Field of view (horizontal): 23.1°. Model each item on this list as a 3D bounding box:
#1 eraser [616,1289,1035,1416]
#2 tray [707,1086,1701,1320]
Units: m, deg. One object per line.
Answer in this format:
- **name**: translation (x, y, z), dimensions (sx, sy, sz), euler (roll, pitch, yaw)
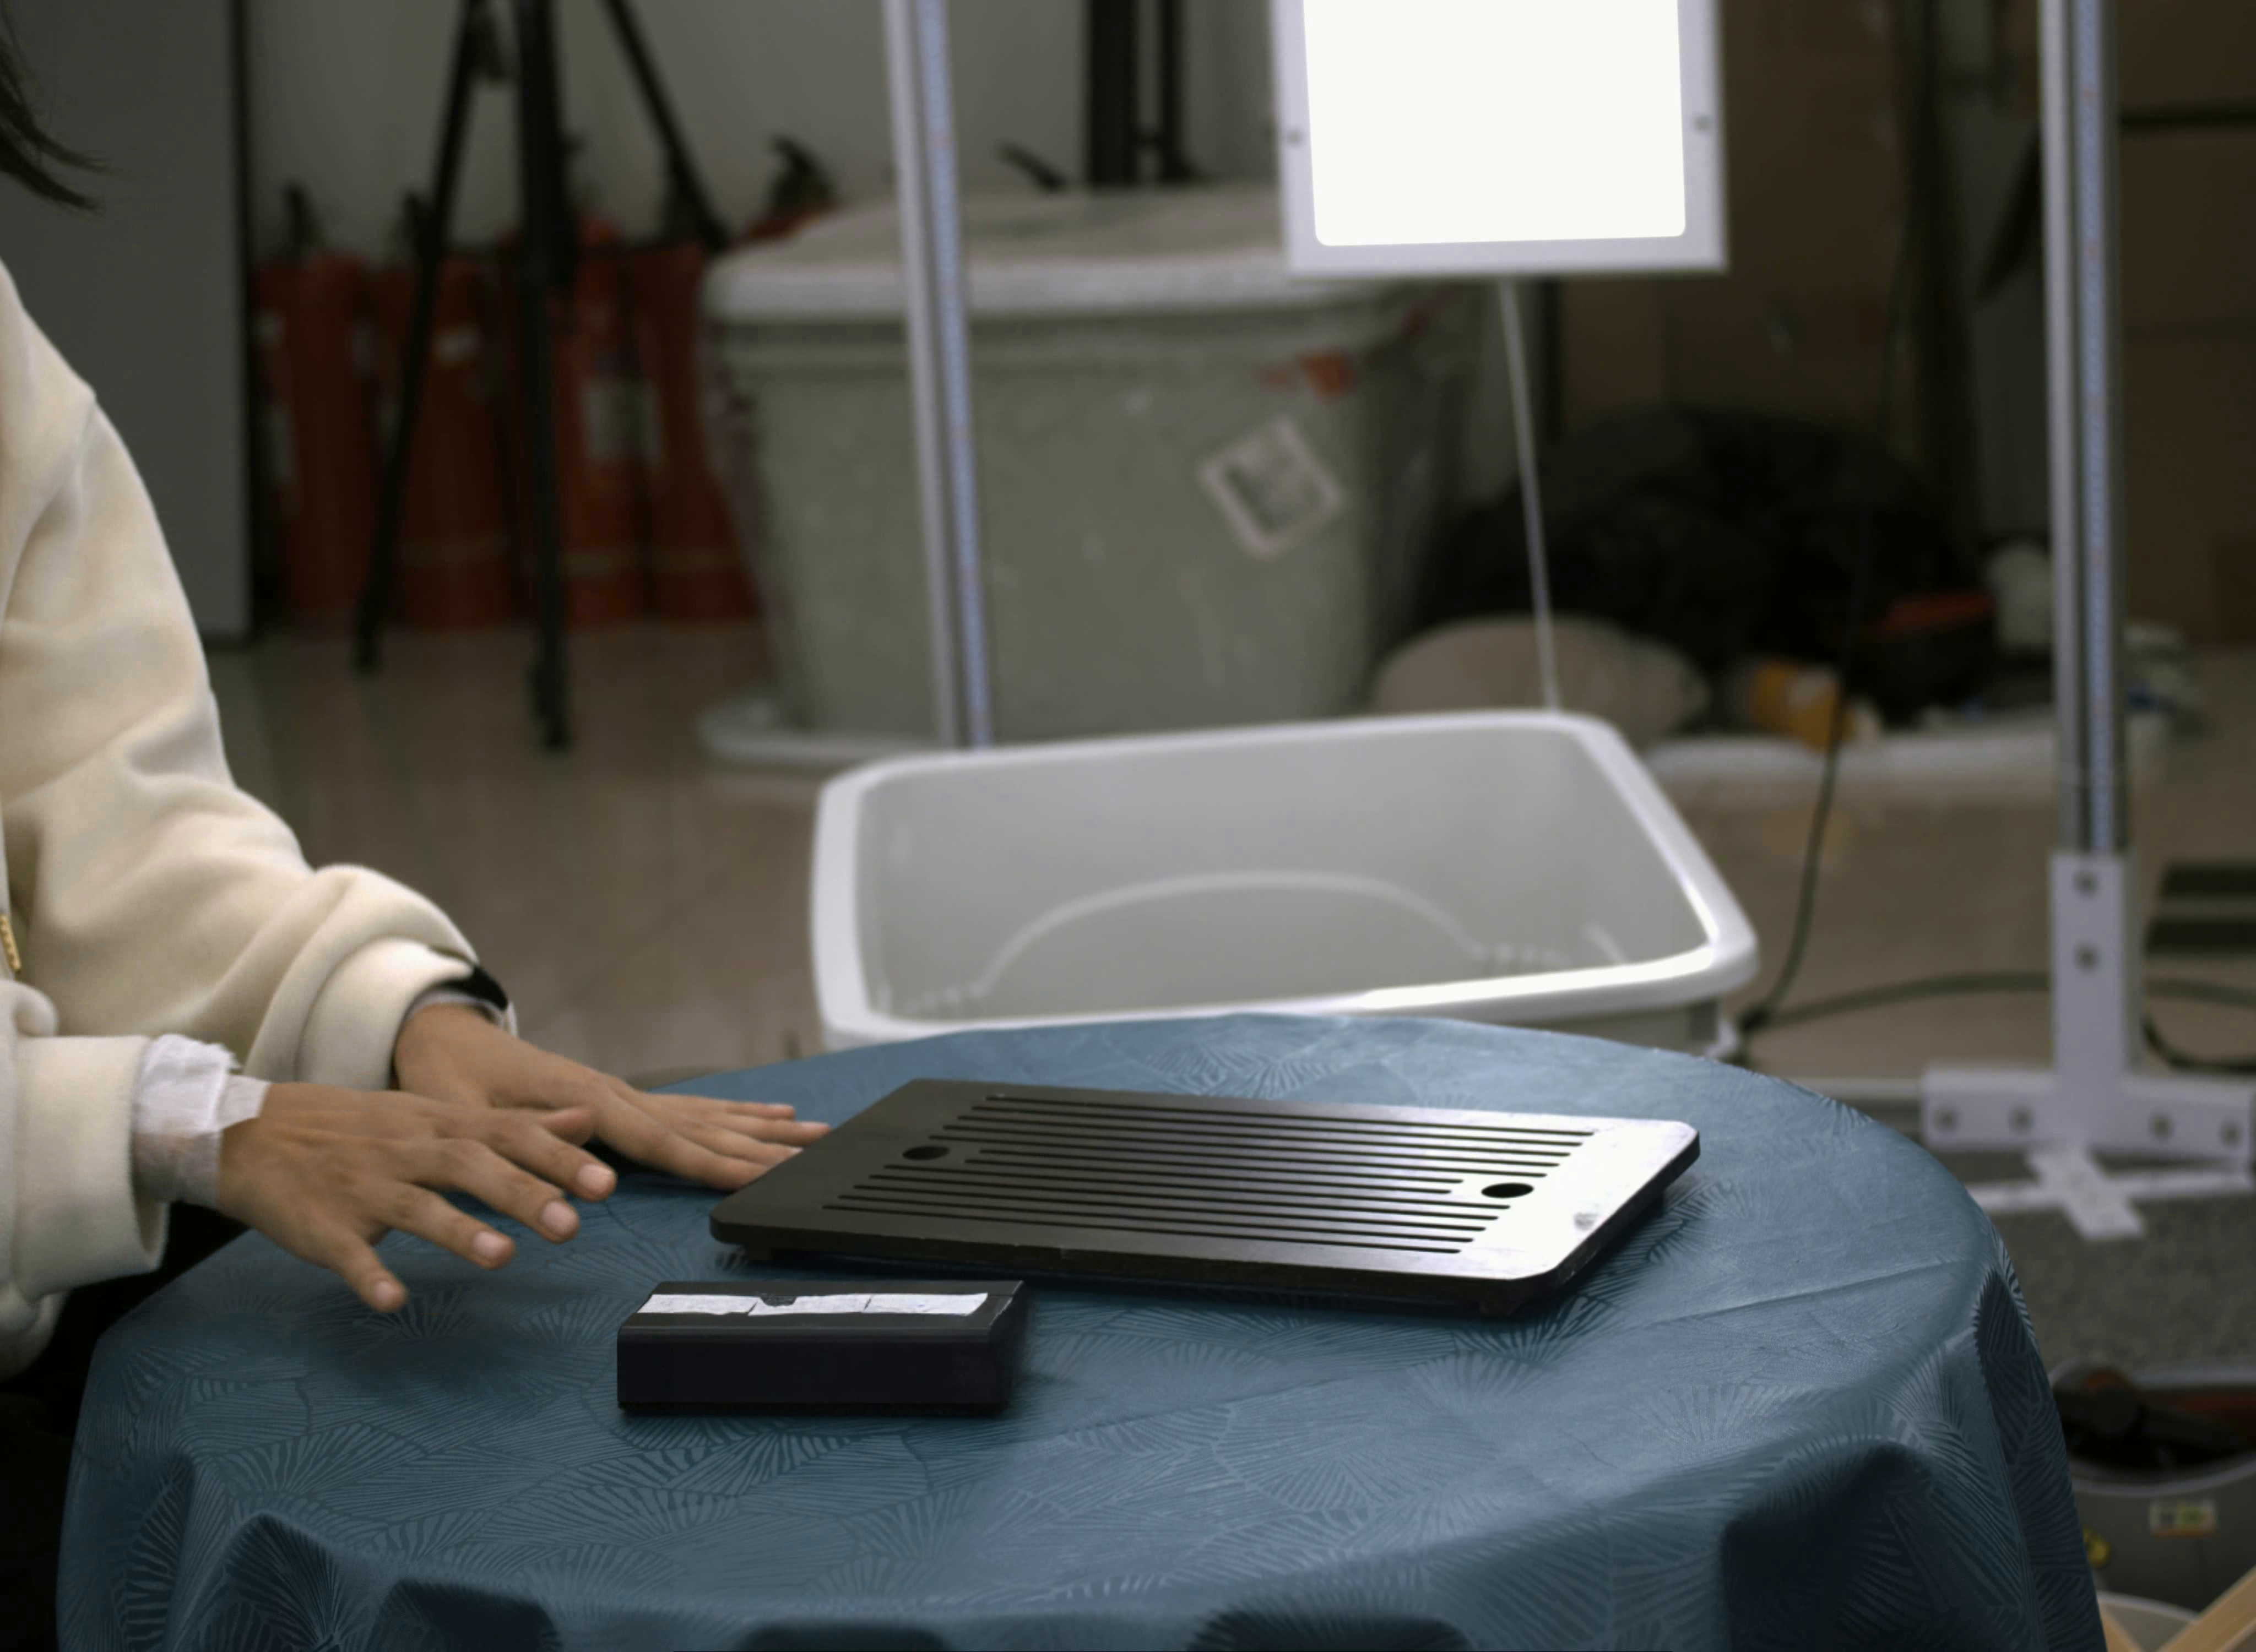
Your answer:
- **eraser**: translation (-0.093, 0.164, 1.723), dimensions (0.127, 0.030, 0.053), euler (-2, 11, 16)
- **tray**: translation (0.026, 0.125, 1.856), dimensions (0.311, 0.019, 0.166), euler (2, 15, 26)
